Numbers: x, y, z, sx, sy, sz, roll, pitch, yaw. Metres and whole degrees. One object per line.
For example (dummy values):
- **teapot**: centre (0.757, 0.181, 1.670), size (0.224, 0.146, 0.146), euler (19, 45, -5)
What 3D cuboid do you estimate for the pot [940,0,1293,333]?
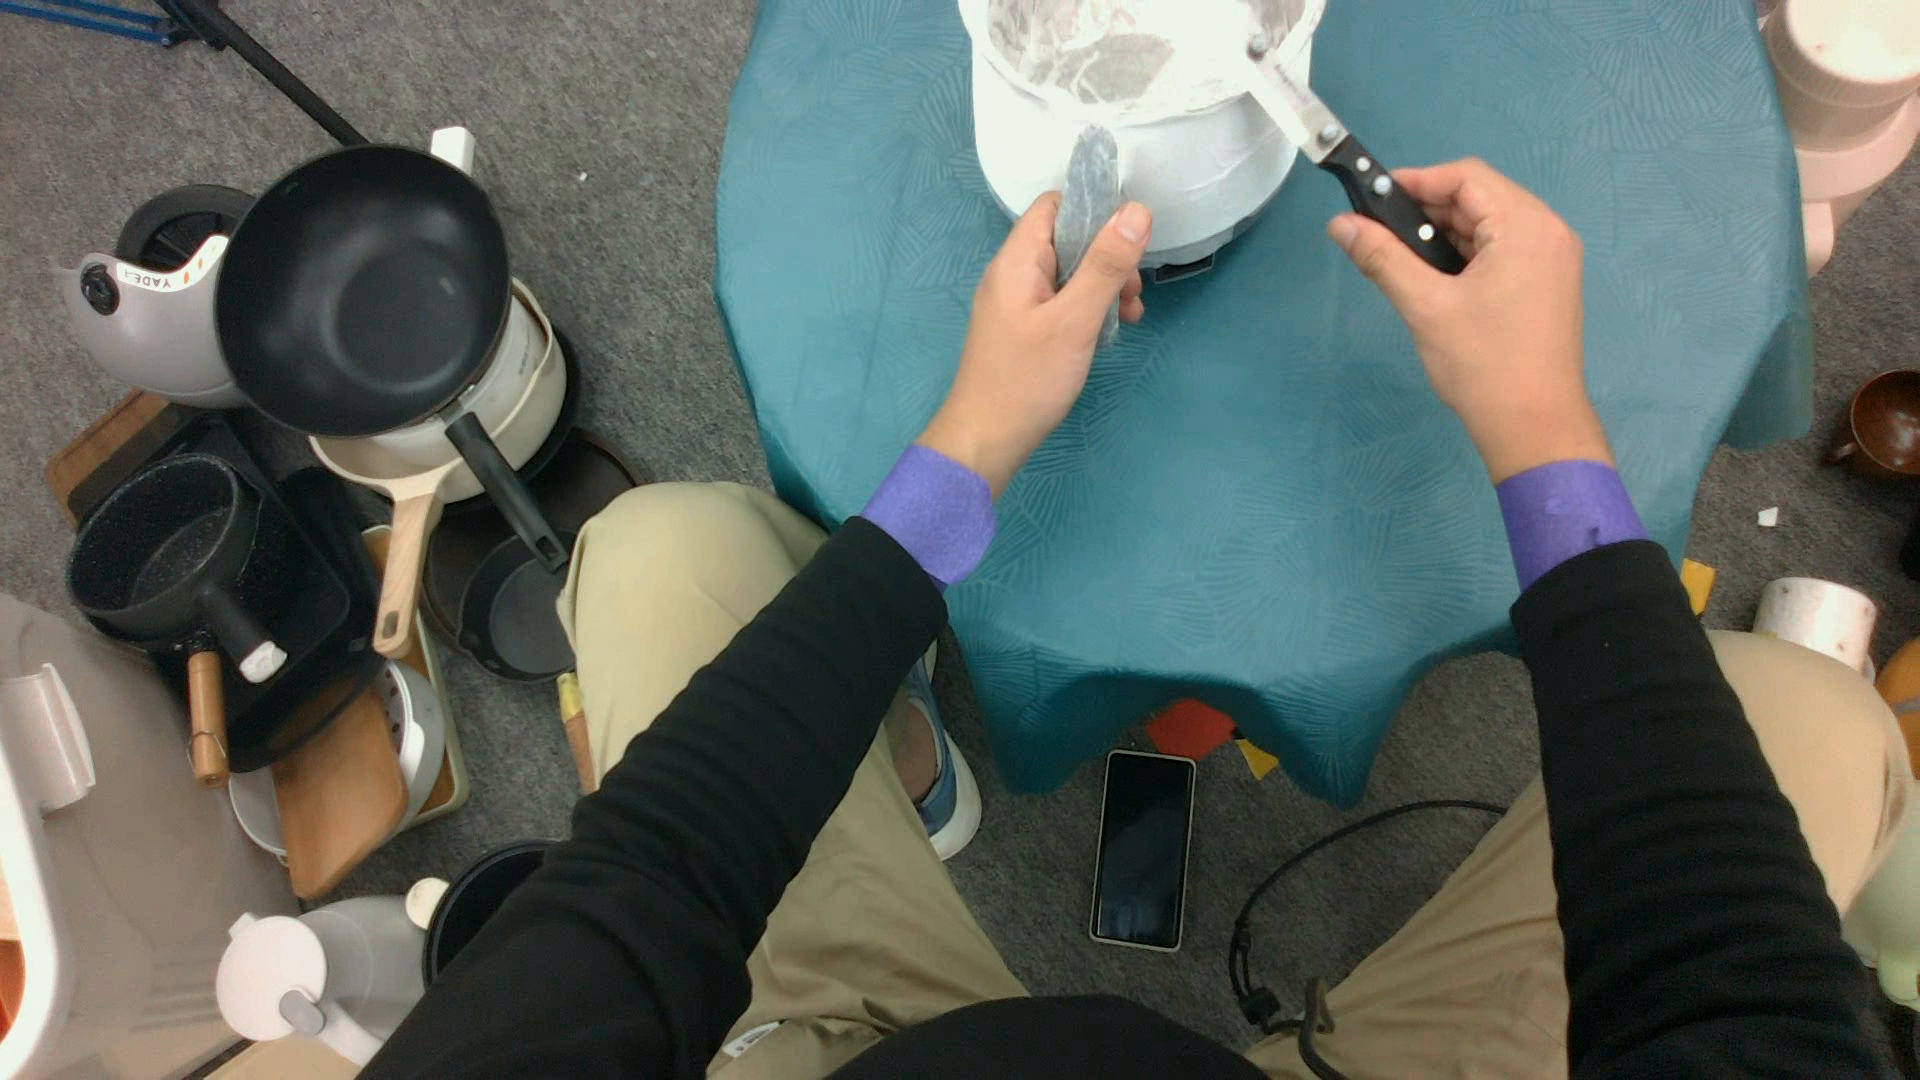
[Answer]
- **pot**: centre (0.075, -0.228, 0.709), size (0.178, 0.136, 0.234), euler (9, 65, 10)

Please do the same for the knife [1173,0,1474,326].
- **knife**: centre (0.160, -0.193, 0.637), size (0.024, 0.016, 0.238), euler (-44, 96, -8)
